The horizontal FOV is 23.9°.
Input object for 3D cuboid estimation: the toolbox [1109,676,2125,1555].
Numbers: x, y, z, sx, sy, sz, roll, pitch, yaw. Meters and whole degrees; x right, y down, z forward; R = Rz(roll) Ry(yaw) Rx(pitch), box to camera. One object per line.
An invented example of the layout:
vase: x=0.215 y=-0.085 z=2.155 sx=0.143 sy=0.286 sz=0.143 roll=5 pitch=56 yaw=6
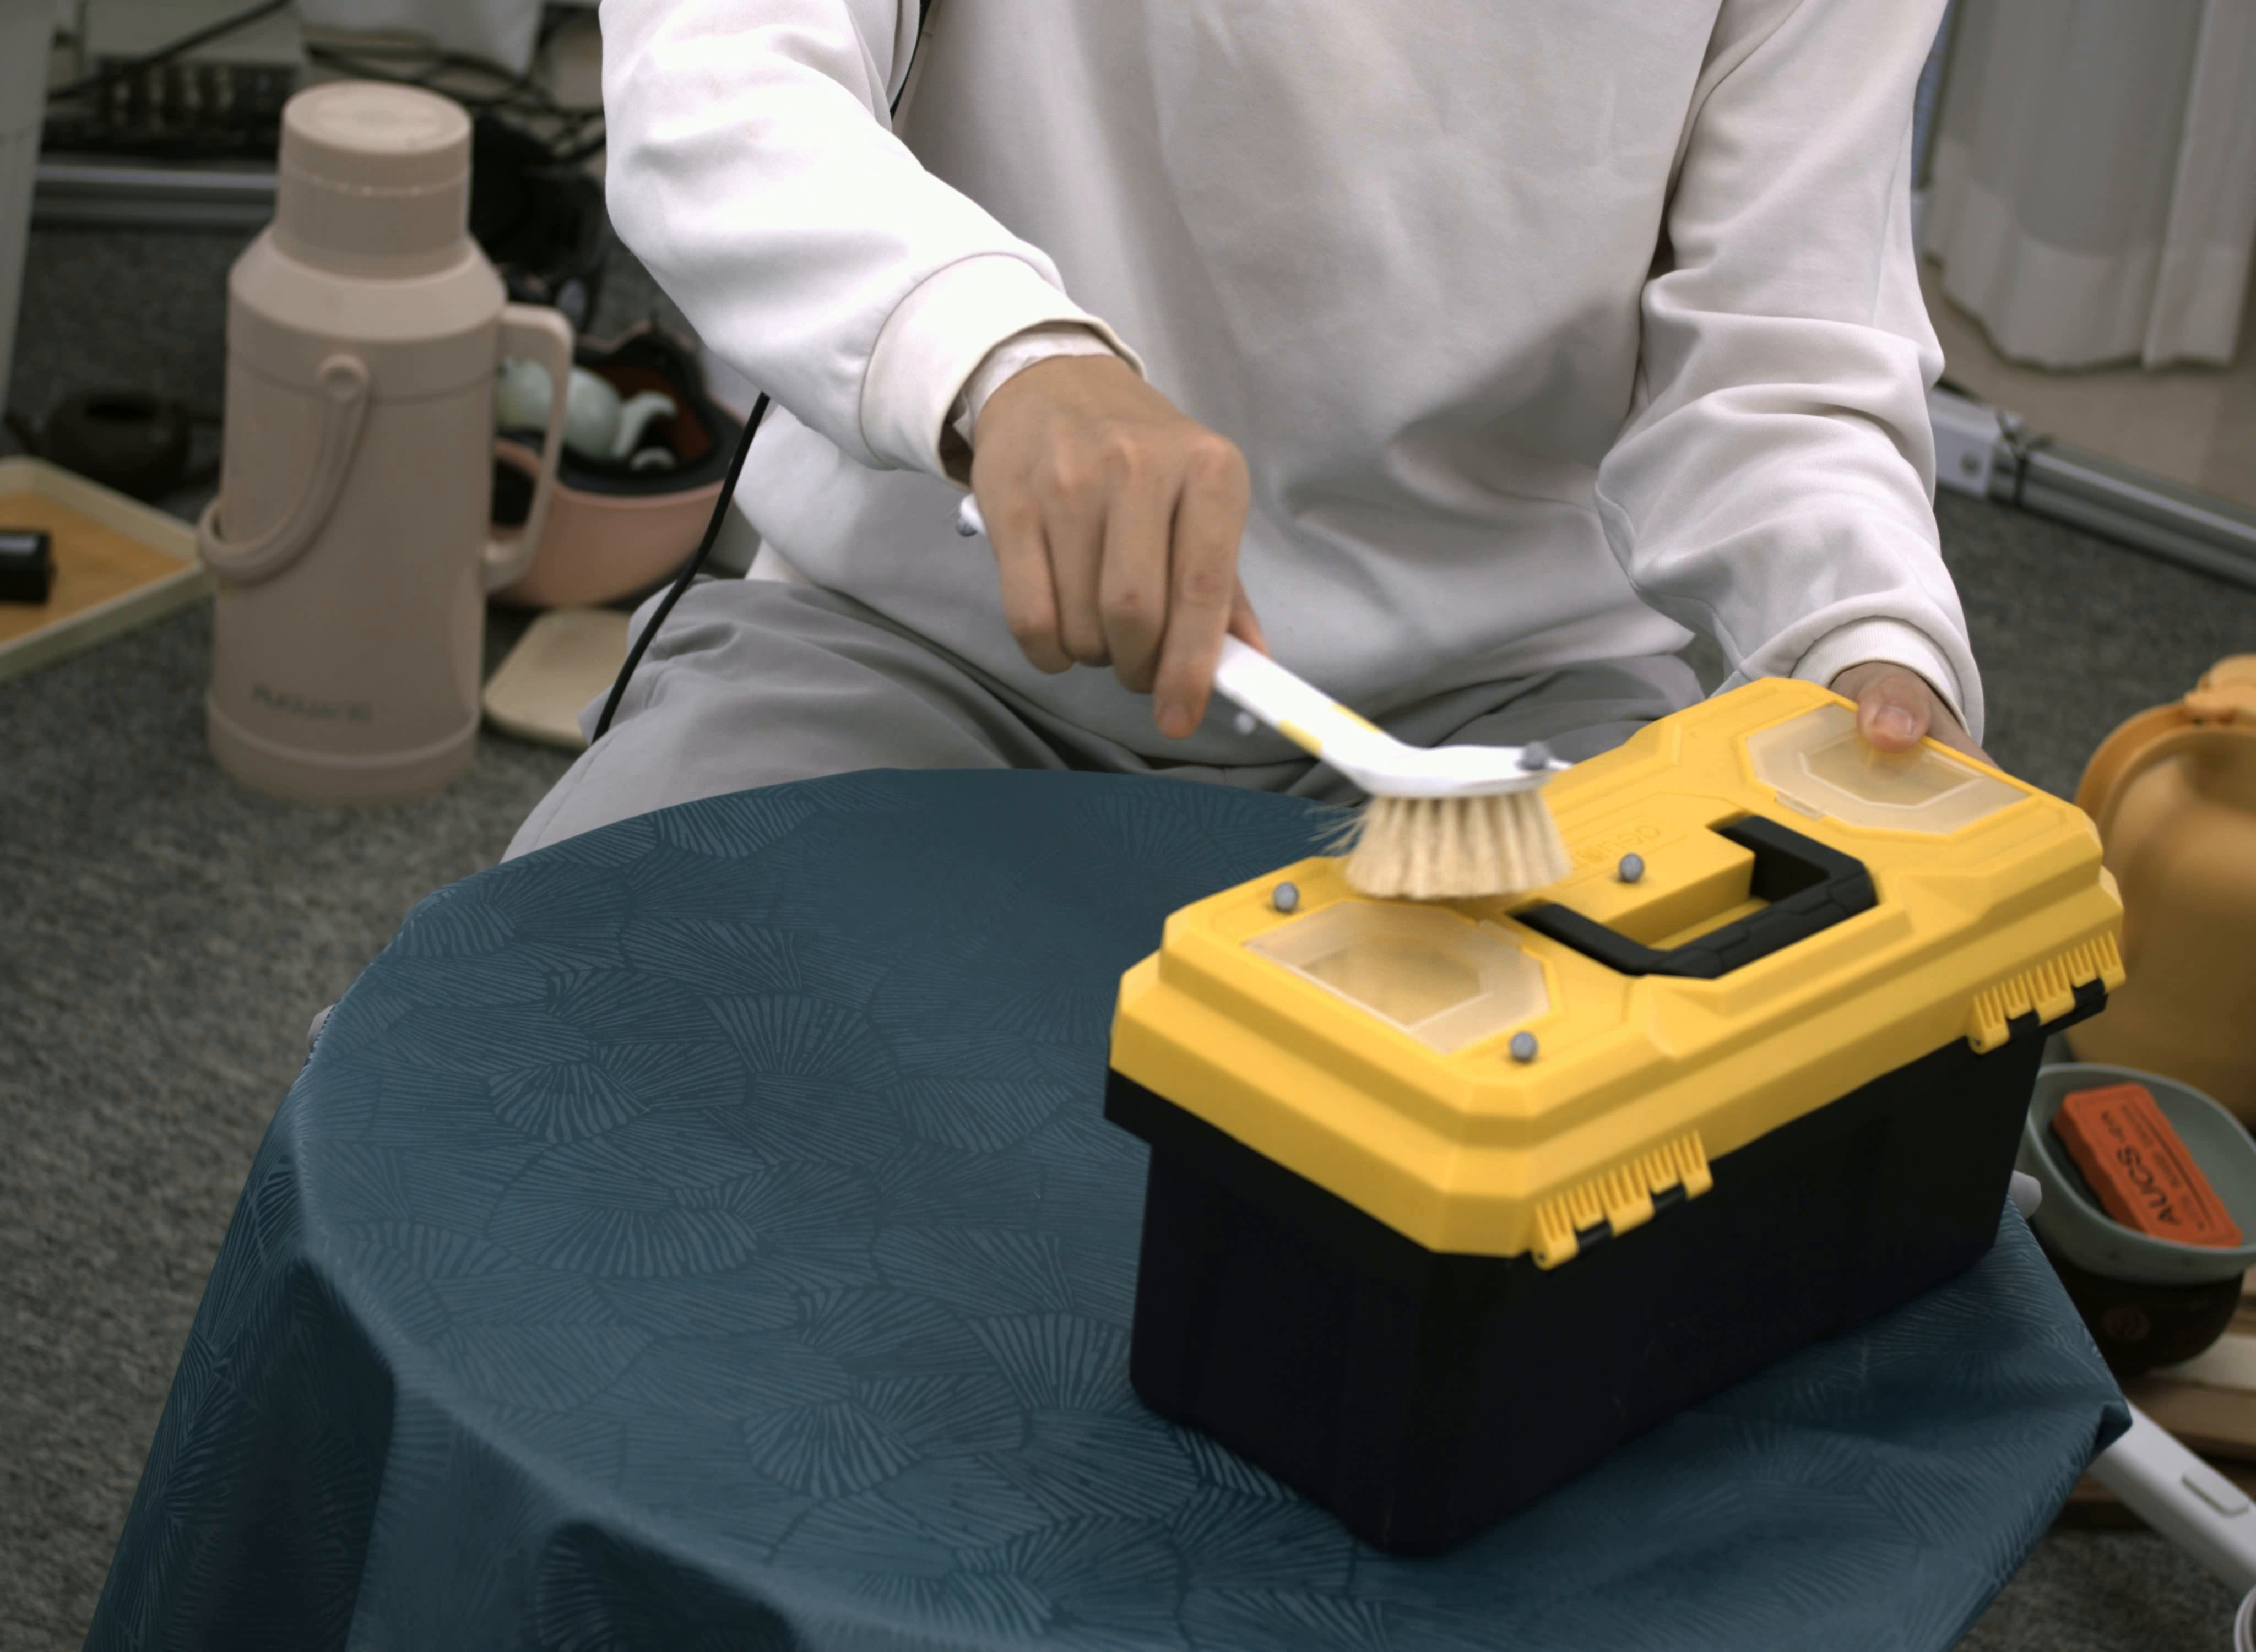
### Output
toolbox: x=0.156 y=0.087 z=1.724 sx=0.182 sy=0.172 sz=0.350 roll=29 pitch=33 yaw=35

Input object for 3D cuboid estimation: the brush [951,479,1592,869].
brush: x=0.038 y=-0.044 z=1.707 sx=0.268 sy=0.056 sz=0.068 roll=26 pitch=19 yaw=36
